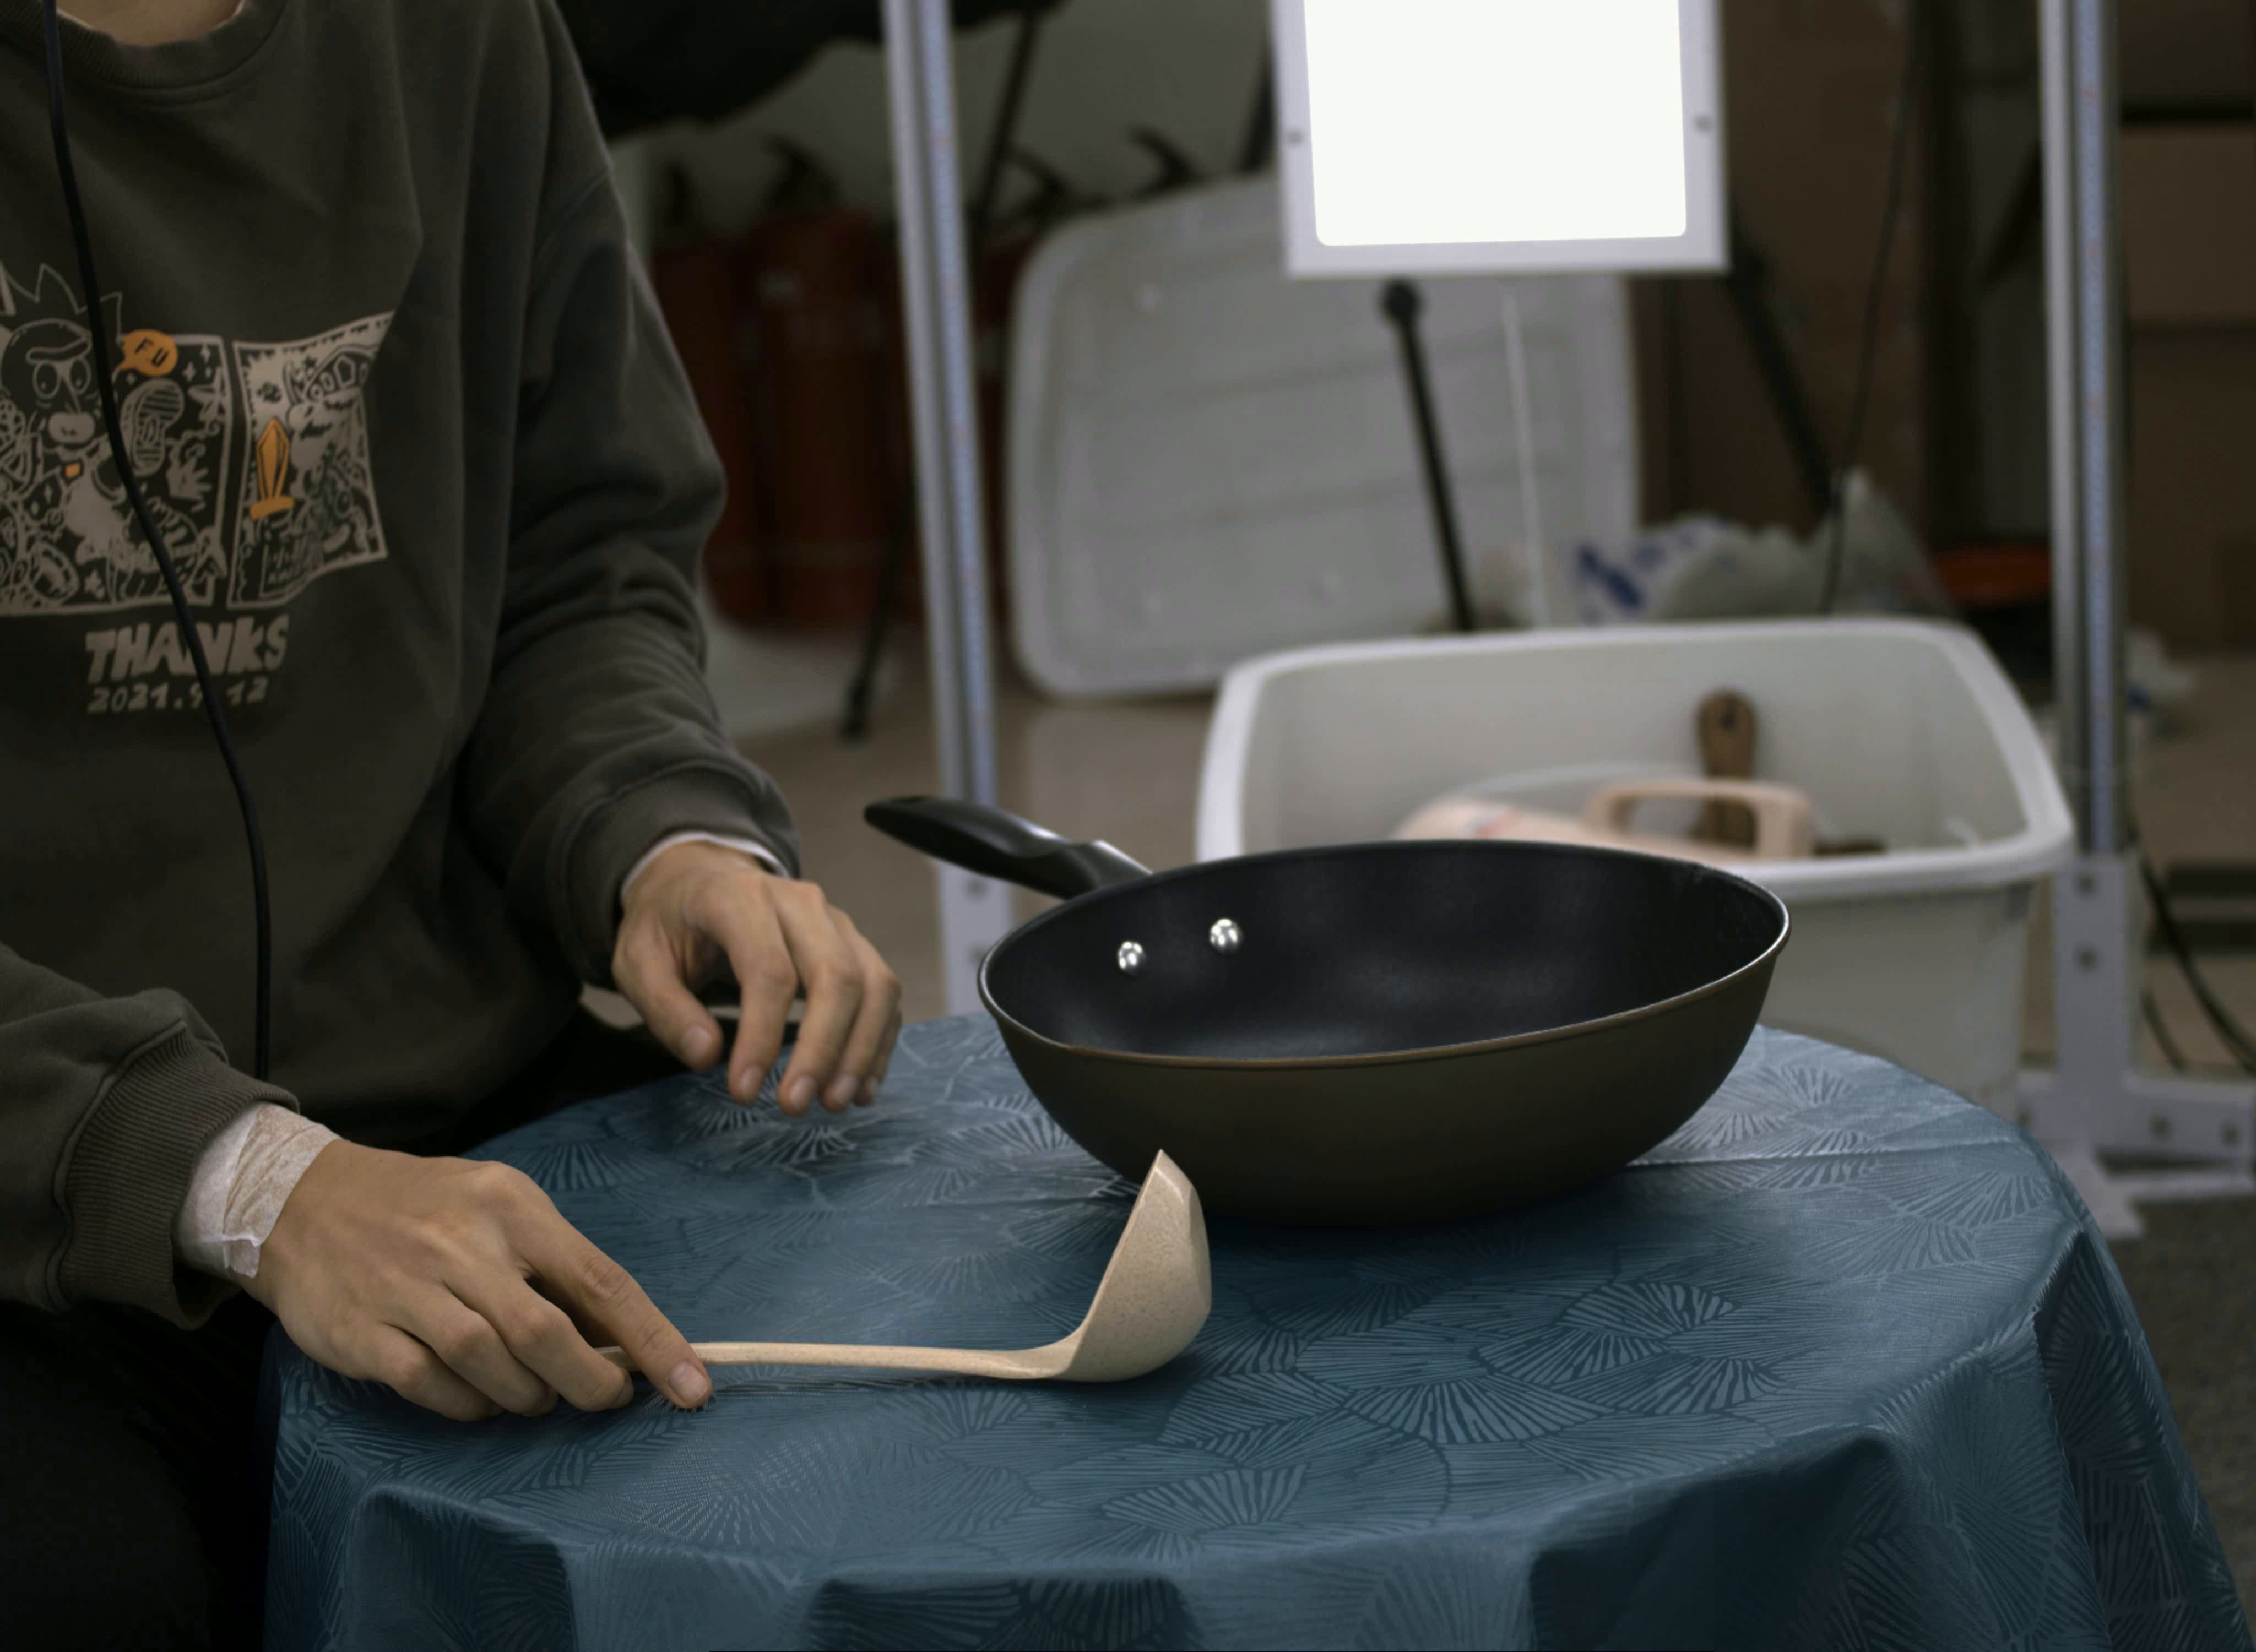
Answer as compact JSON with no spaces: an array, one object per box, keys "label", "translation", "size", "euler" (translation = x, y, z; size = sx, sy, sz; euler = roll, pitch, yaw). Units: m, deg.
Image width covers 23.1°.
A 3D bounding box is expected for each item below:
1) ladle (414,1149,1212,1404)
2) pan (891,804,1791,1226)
[{"label":"ladle","translation":[-0.101,0.141,1.721],"size":[0.255,0.073,0.071],"euler":[-2,15,7]},{"label":"pan","translation":[0.039,0.063,1.967],"size":[0.281,0.087,0.472],"euler":[-14,15,-31]}]
